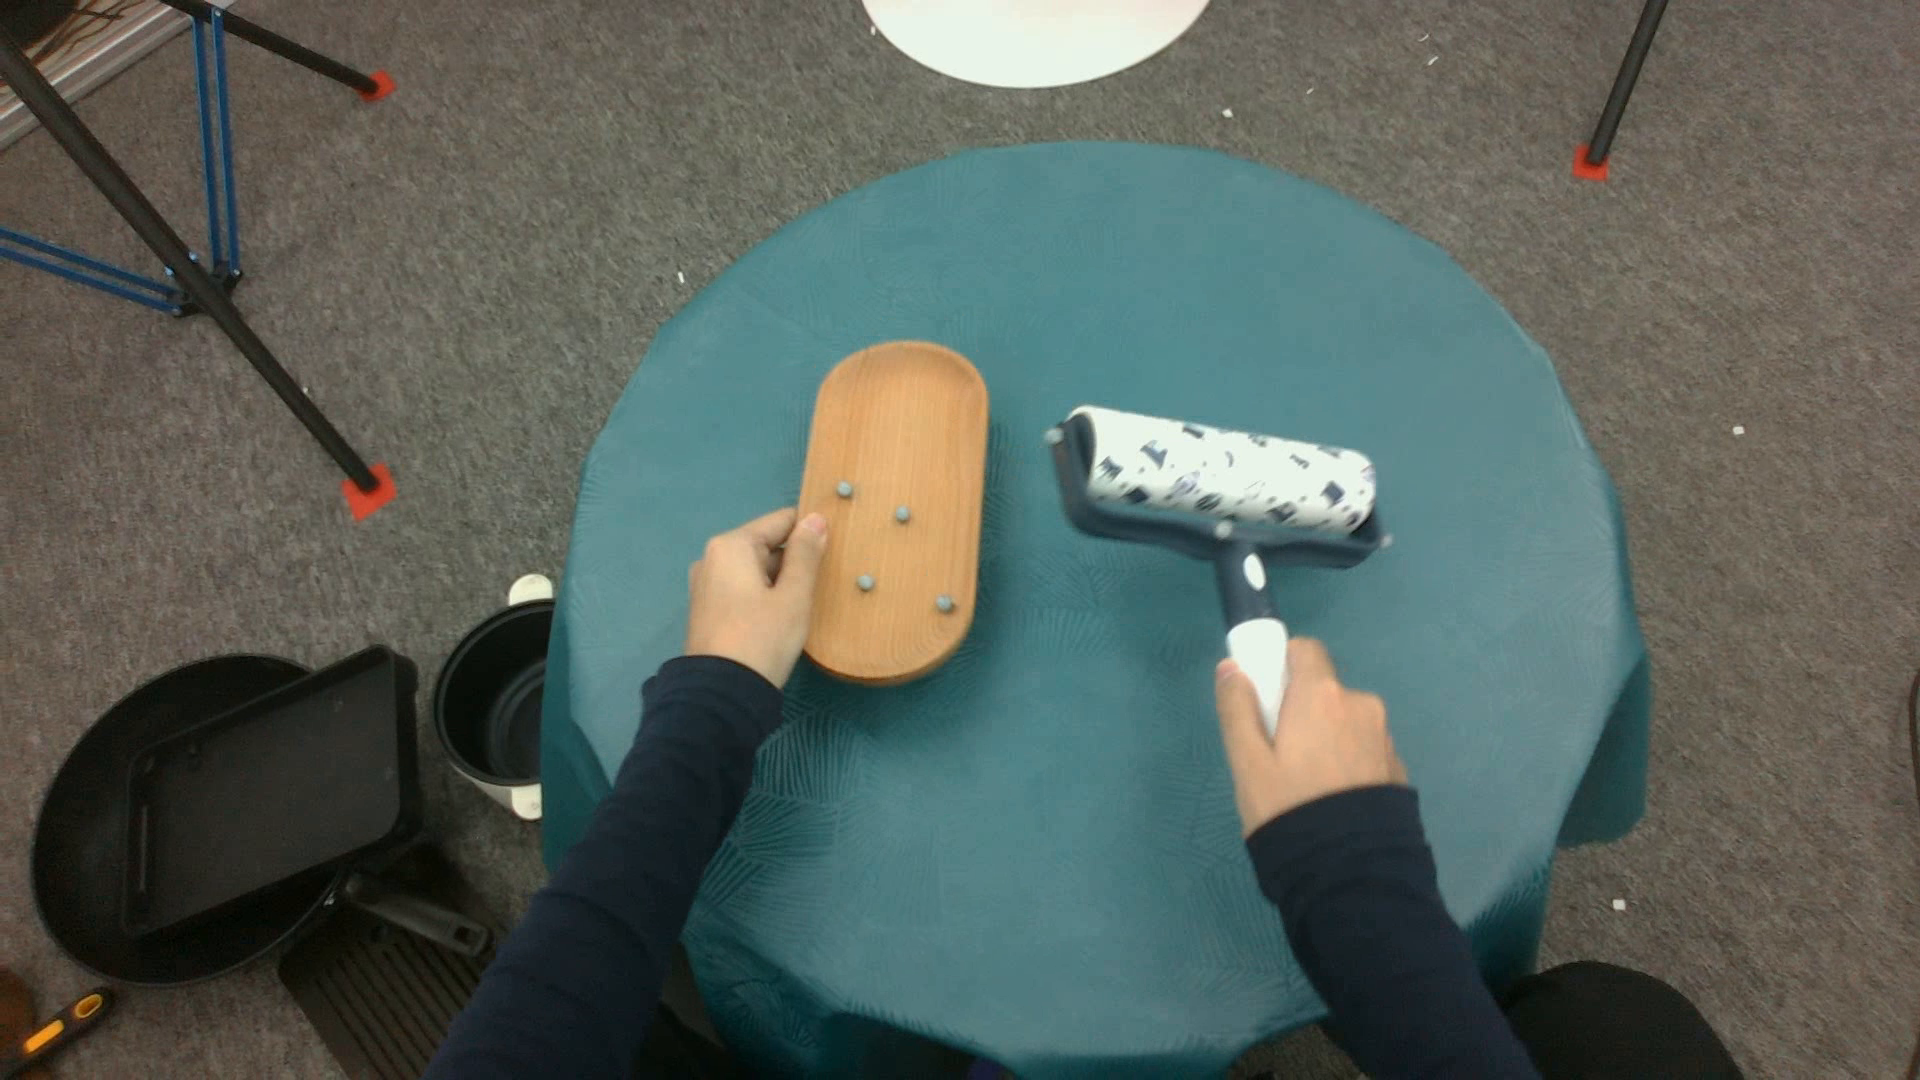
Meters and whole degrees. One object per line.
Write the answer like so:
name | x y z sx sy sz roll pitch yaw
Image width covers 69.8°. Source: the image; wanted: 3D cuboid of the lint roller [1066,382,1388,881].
lint roller | 0.147 0.039 0.667 0.176 0.050 0.248 7 57 -20

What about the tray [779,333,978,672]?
tray | -0.042 -0.028 0.769 0.102 0.020 0.232 4 53 -2
